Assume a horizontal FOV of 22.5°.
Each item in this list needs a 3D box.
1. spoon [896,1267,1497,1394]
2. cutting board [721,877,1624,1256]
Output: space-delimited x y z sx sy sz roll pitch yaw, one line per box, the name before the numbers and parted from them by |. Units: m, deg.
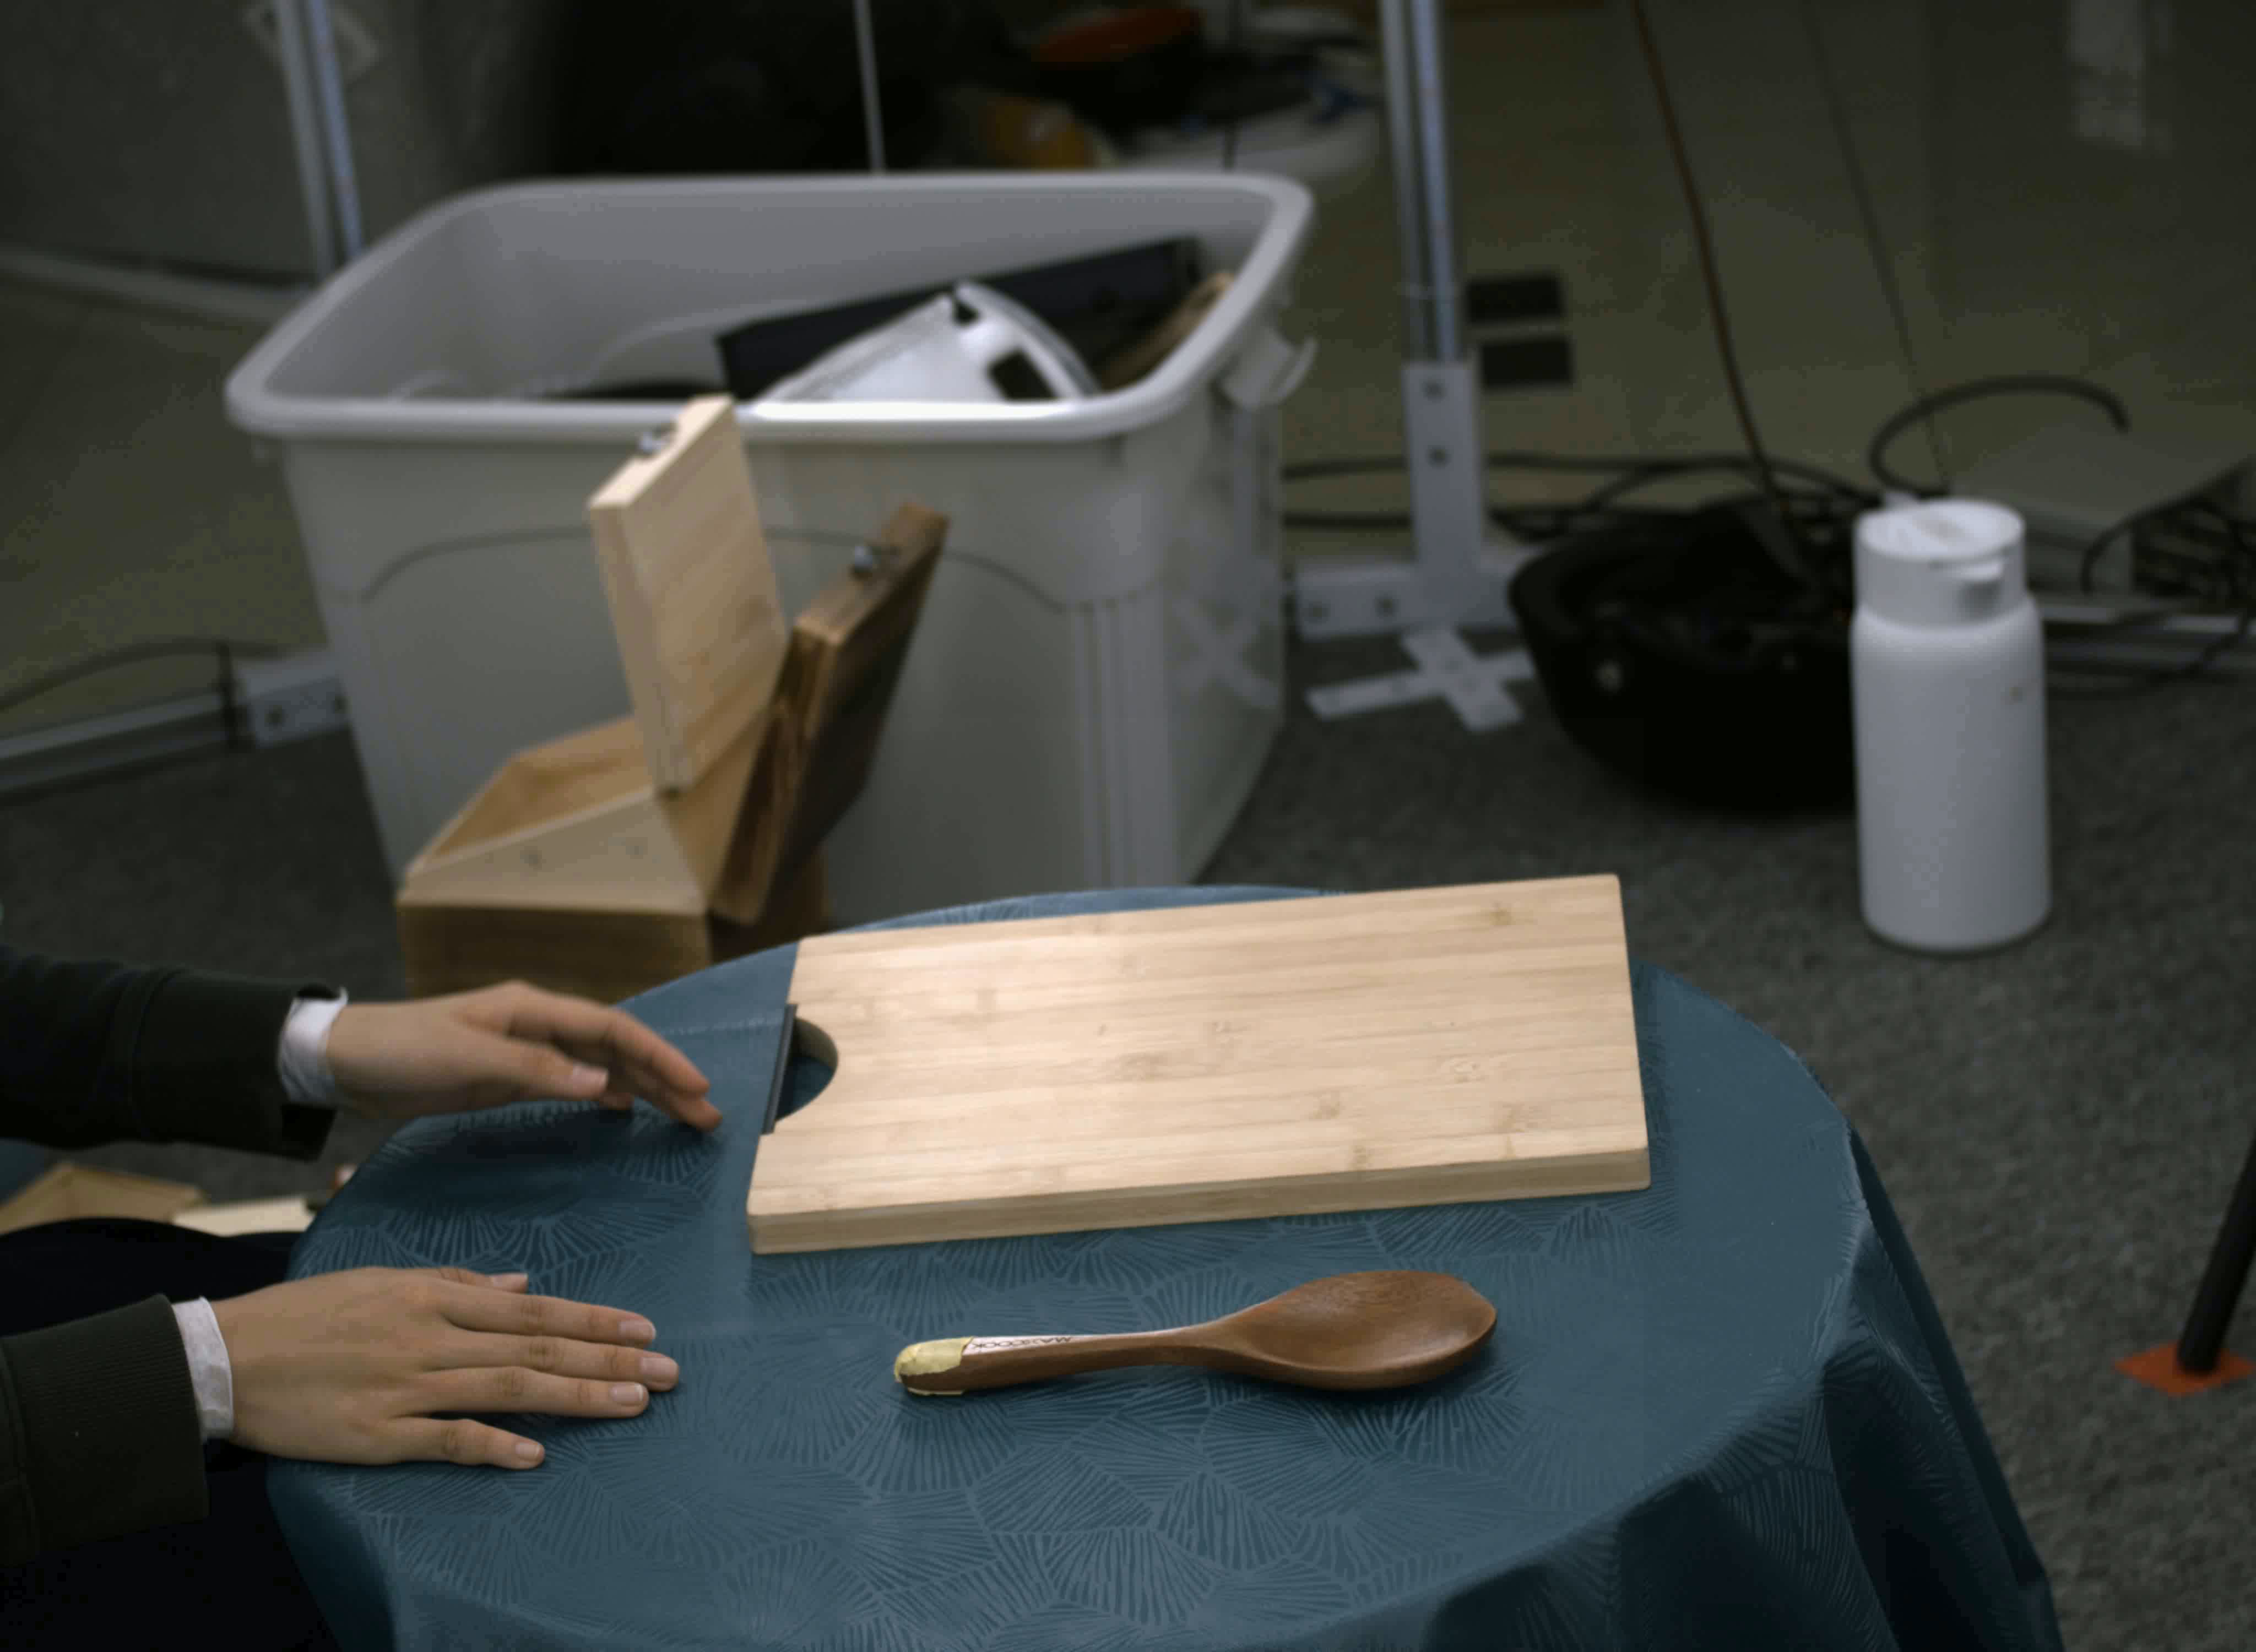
spoon | 0.024 0.186 2.025 0.215 0.017 0.074 -4 26 5
cutting board | 0.023 0.092 2.229 0.348 0.024 0.247 -5 24 4
